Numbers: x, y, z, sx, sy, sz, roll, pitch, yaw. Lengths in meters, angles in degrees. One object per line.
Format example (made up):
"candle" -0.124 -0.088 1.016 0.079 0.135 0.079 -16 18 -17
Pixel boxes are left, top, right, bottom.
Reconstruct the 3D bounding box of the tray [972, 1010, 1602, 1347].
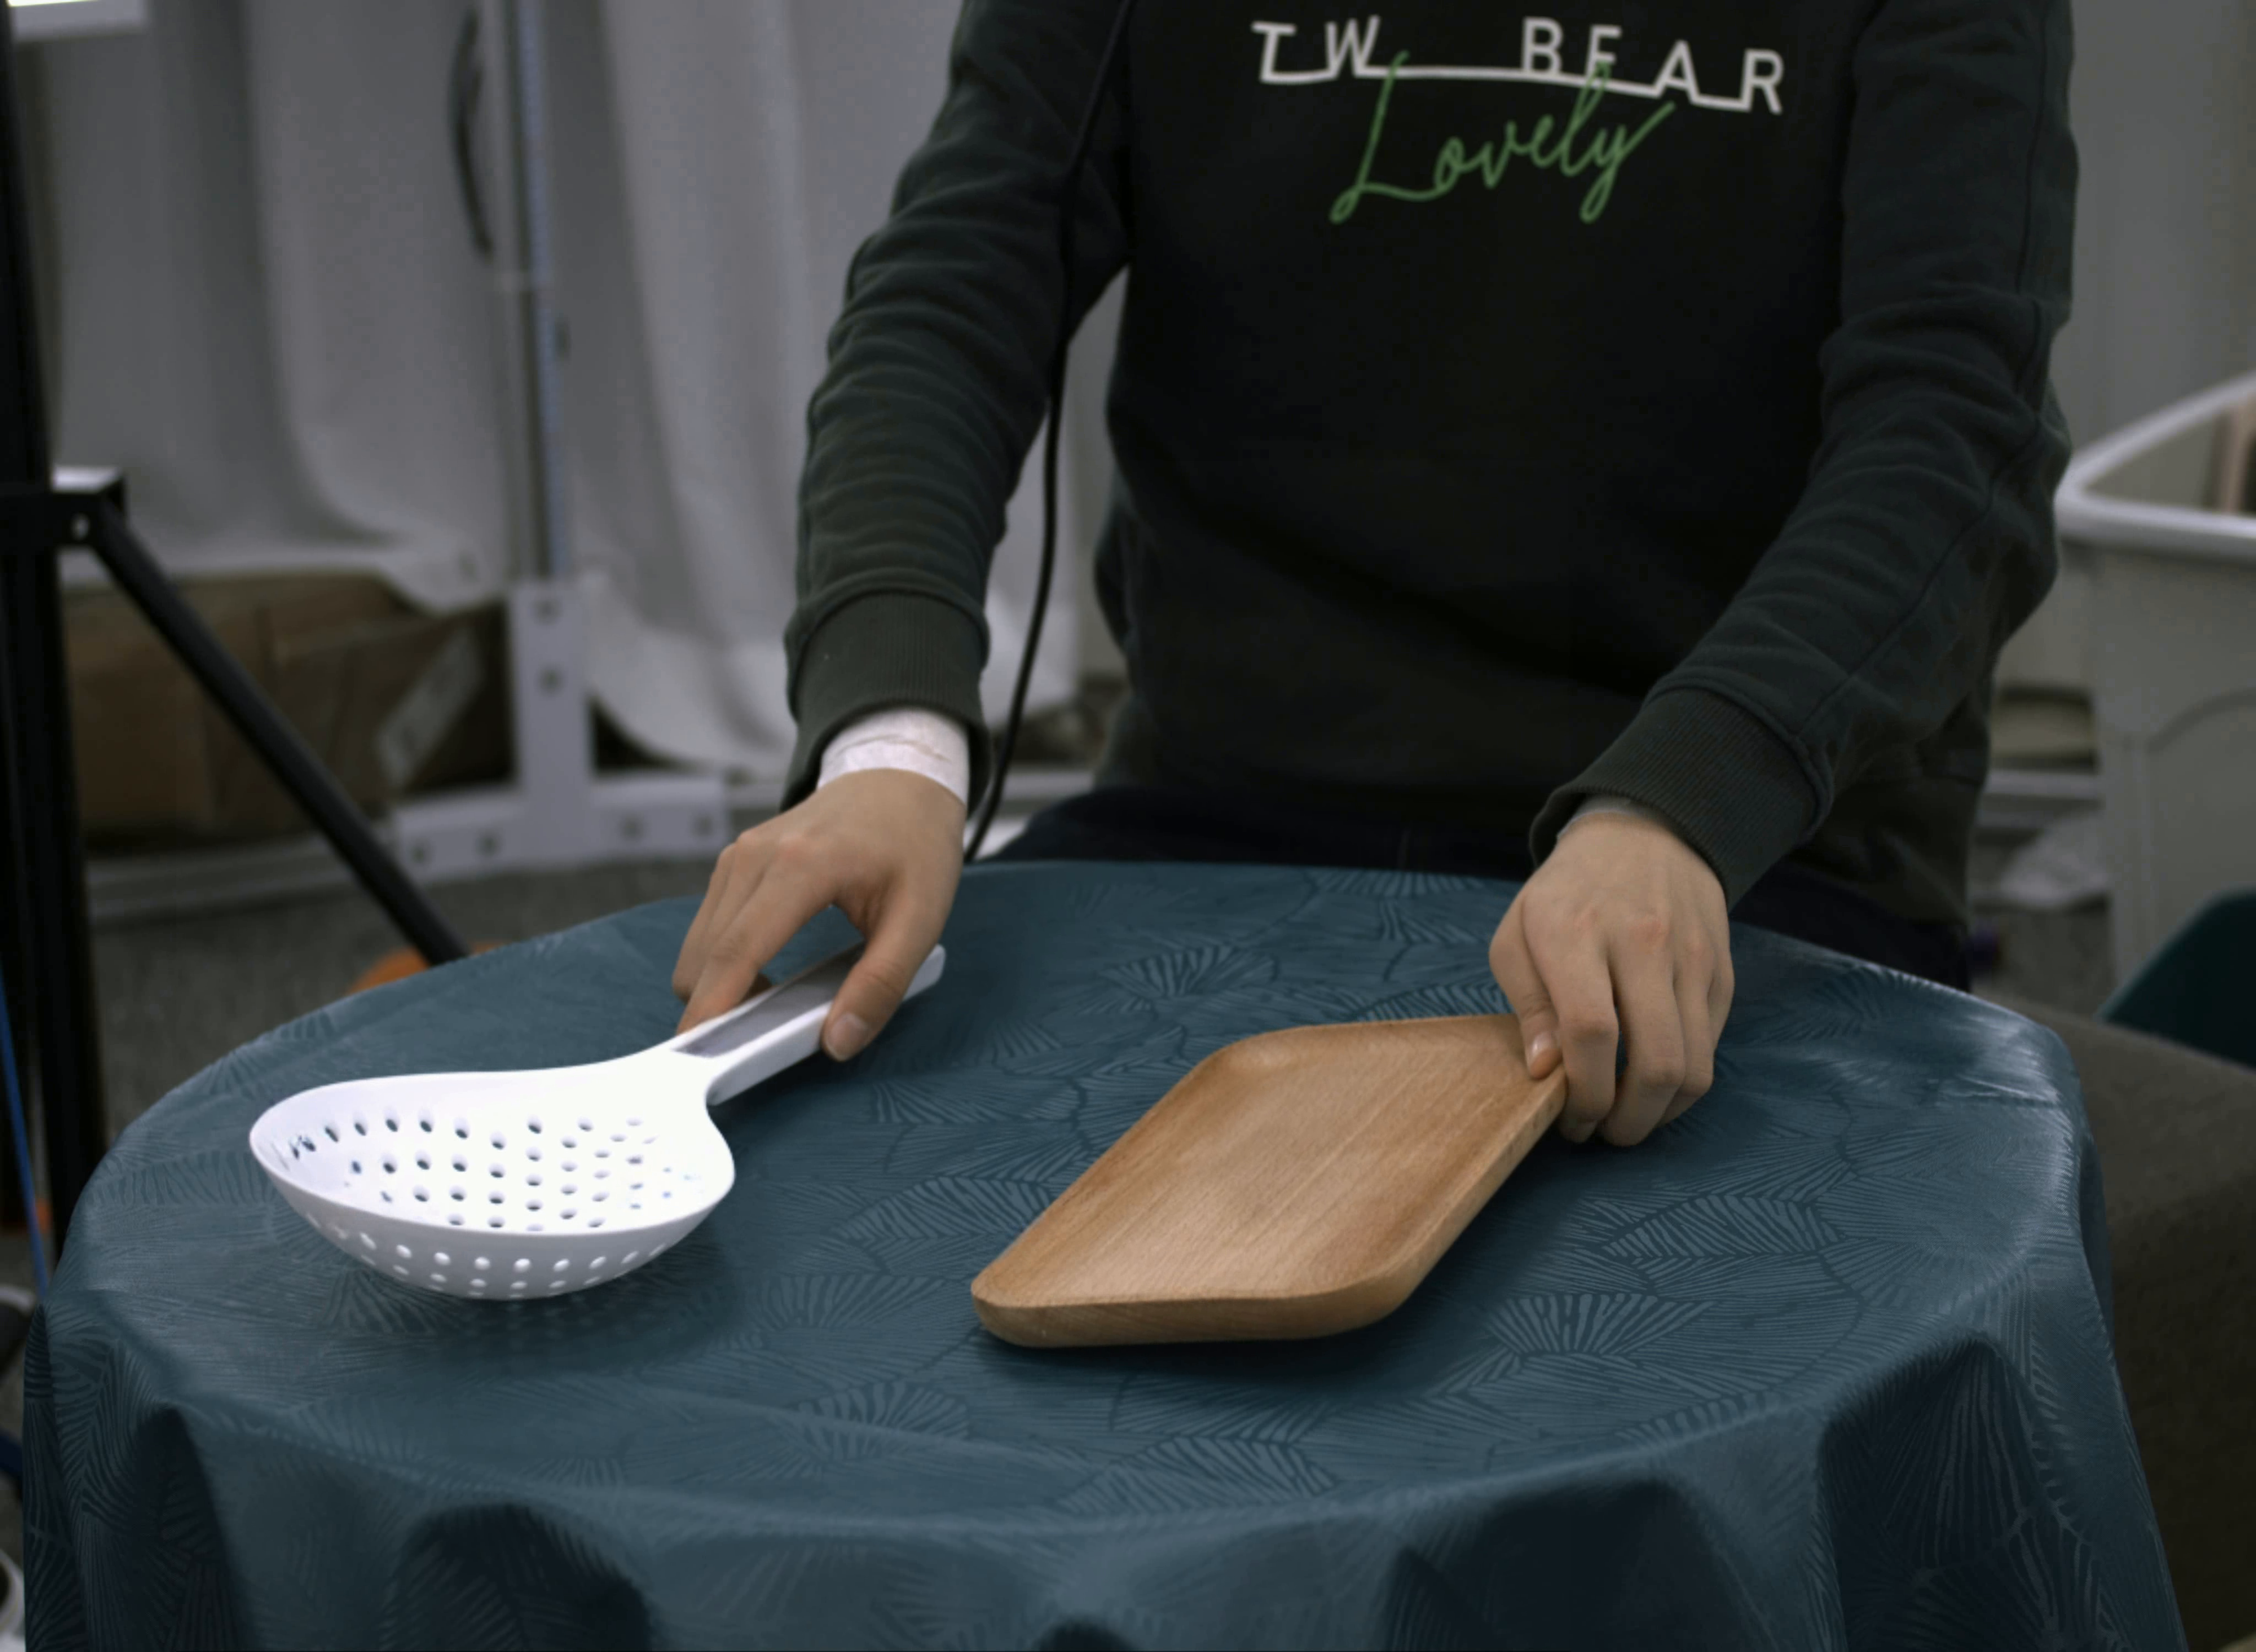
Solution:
"tray" 0.051 0.099 1.522 0.132 0.023 0.247 -3 14 22

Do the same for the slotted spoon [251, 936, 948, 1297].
"slotted spoon" -0.138 0.077 1.598 0.138 0.046 0.345 13 21 21
